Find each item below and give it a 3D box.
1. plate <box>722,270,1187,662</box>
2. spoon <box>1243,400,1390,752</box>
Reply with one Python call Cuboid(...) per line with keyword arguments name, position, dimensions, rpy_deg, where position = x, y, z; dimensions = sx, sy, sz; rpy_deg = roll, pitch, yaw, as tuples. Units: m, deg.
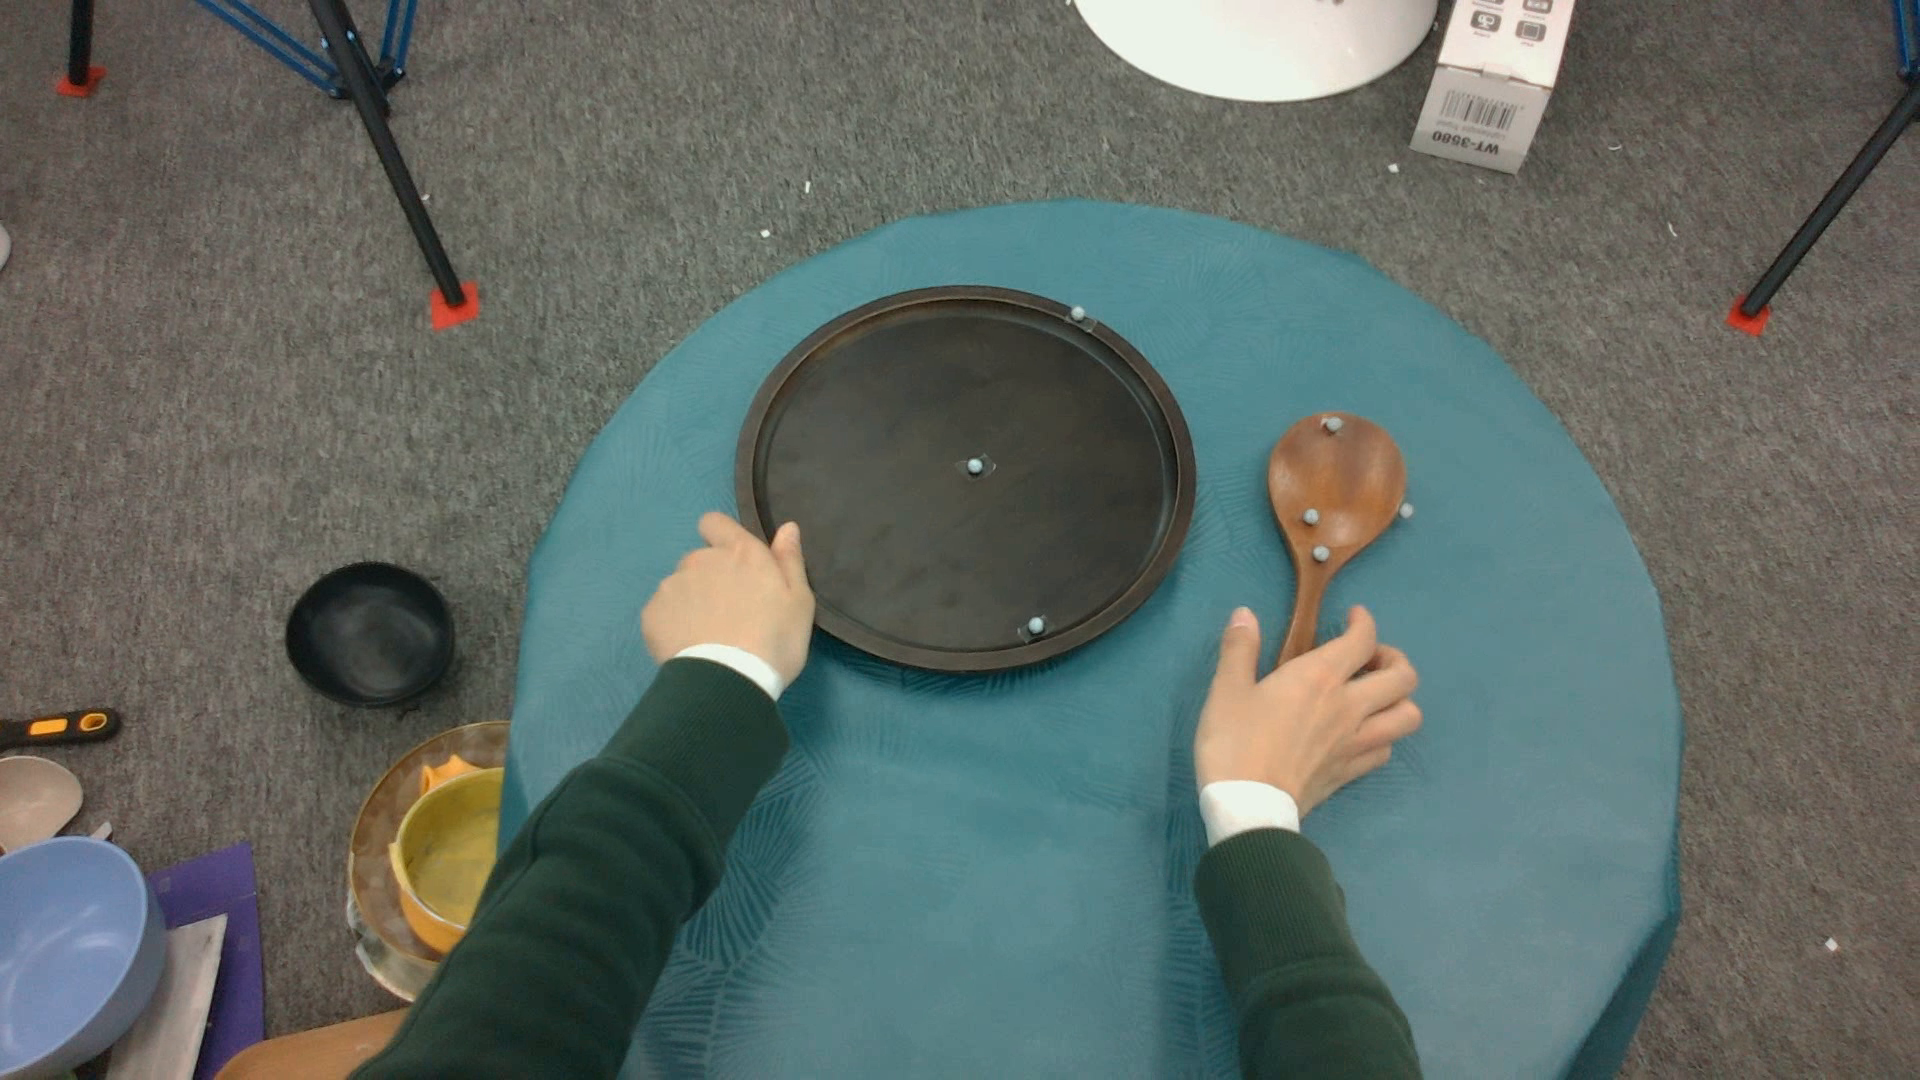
Cuboid(name="plate", position=(-0.003, -0.046, 0.757), dimensions=(0.255, 0.029, 0.256), rpy_deg=(0, 58, 0))
Cuboid(name="spoon", position=(0.180, 0.014, 0.729), dimensions=(0.075, 0.017, 0.217), rpy_deg=(15, 60, 7))
